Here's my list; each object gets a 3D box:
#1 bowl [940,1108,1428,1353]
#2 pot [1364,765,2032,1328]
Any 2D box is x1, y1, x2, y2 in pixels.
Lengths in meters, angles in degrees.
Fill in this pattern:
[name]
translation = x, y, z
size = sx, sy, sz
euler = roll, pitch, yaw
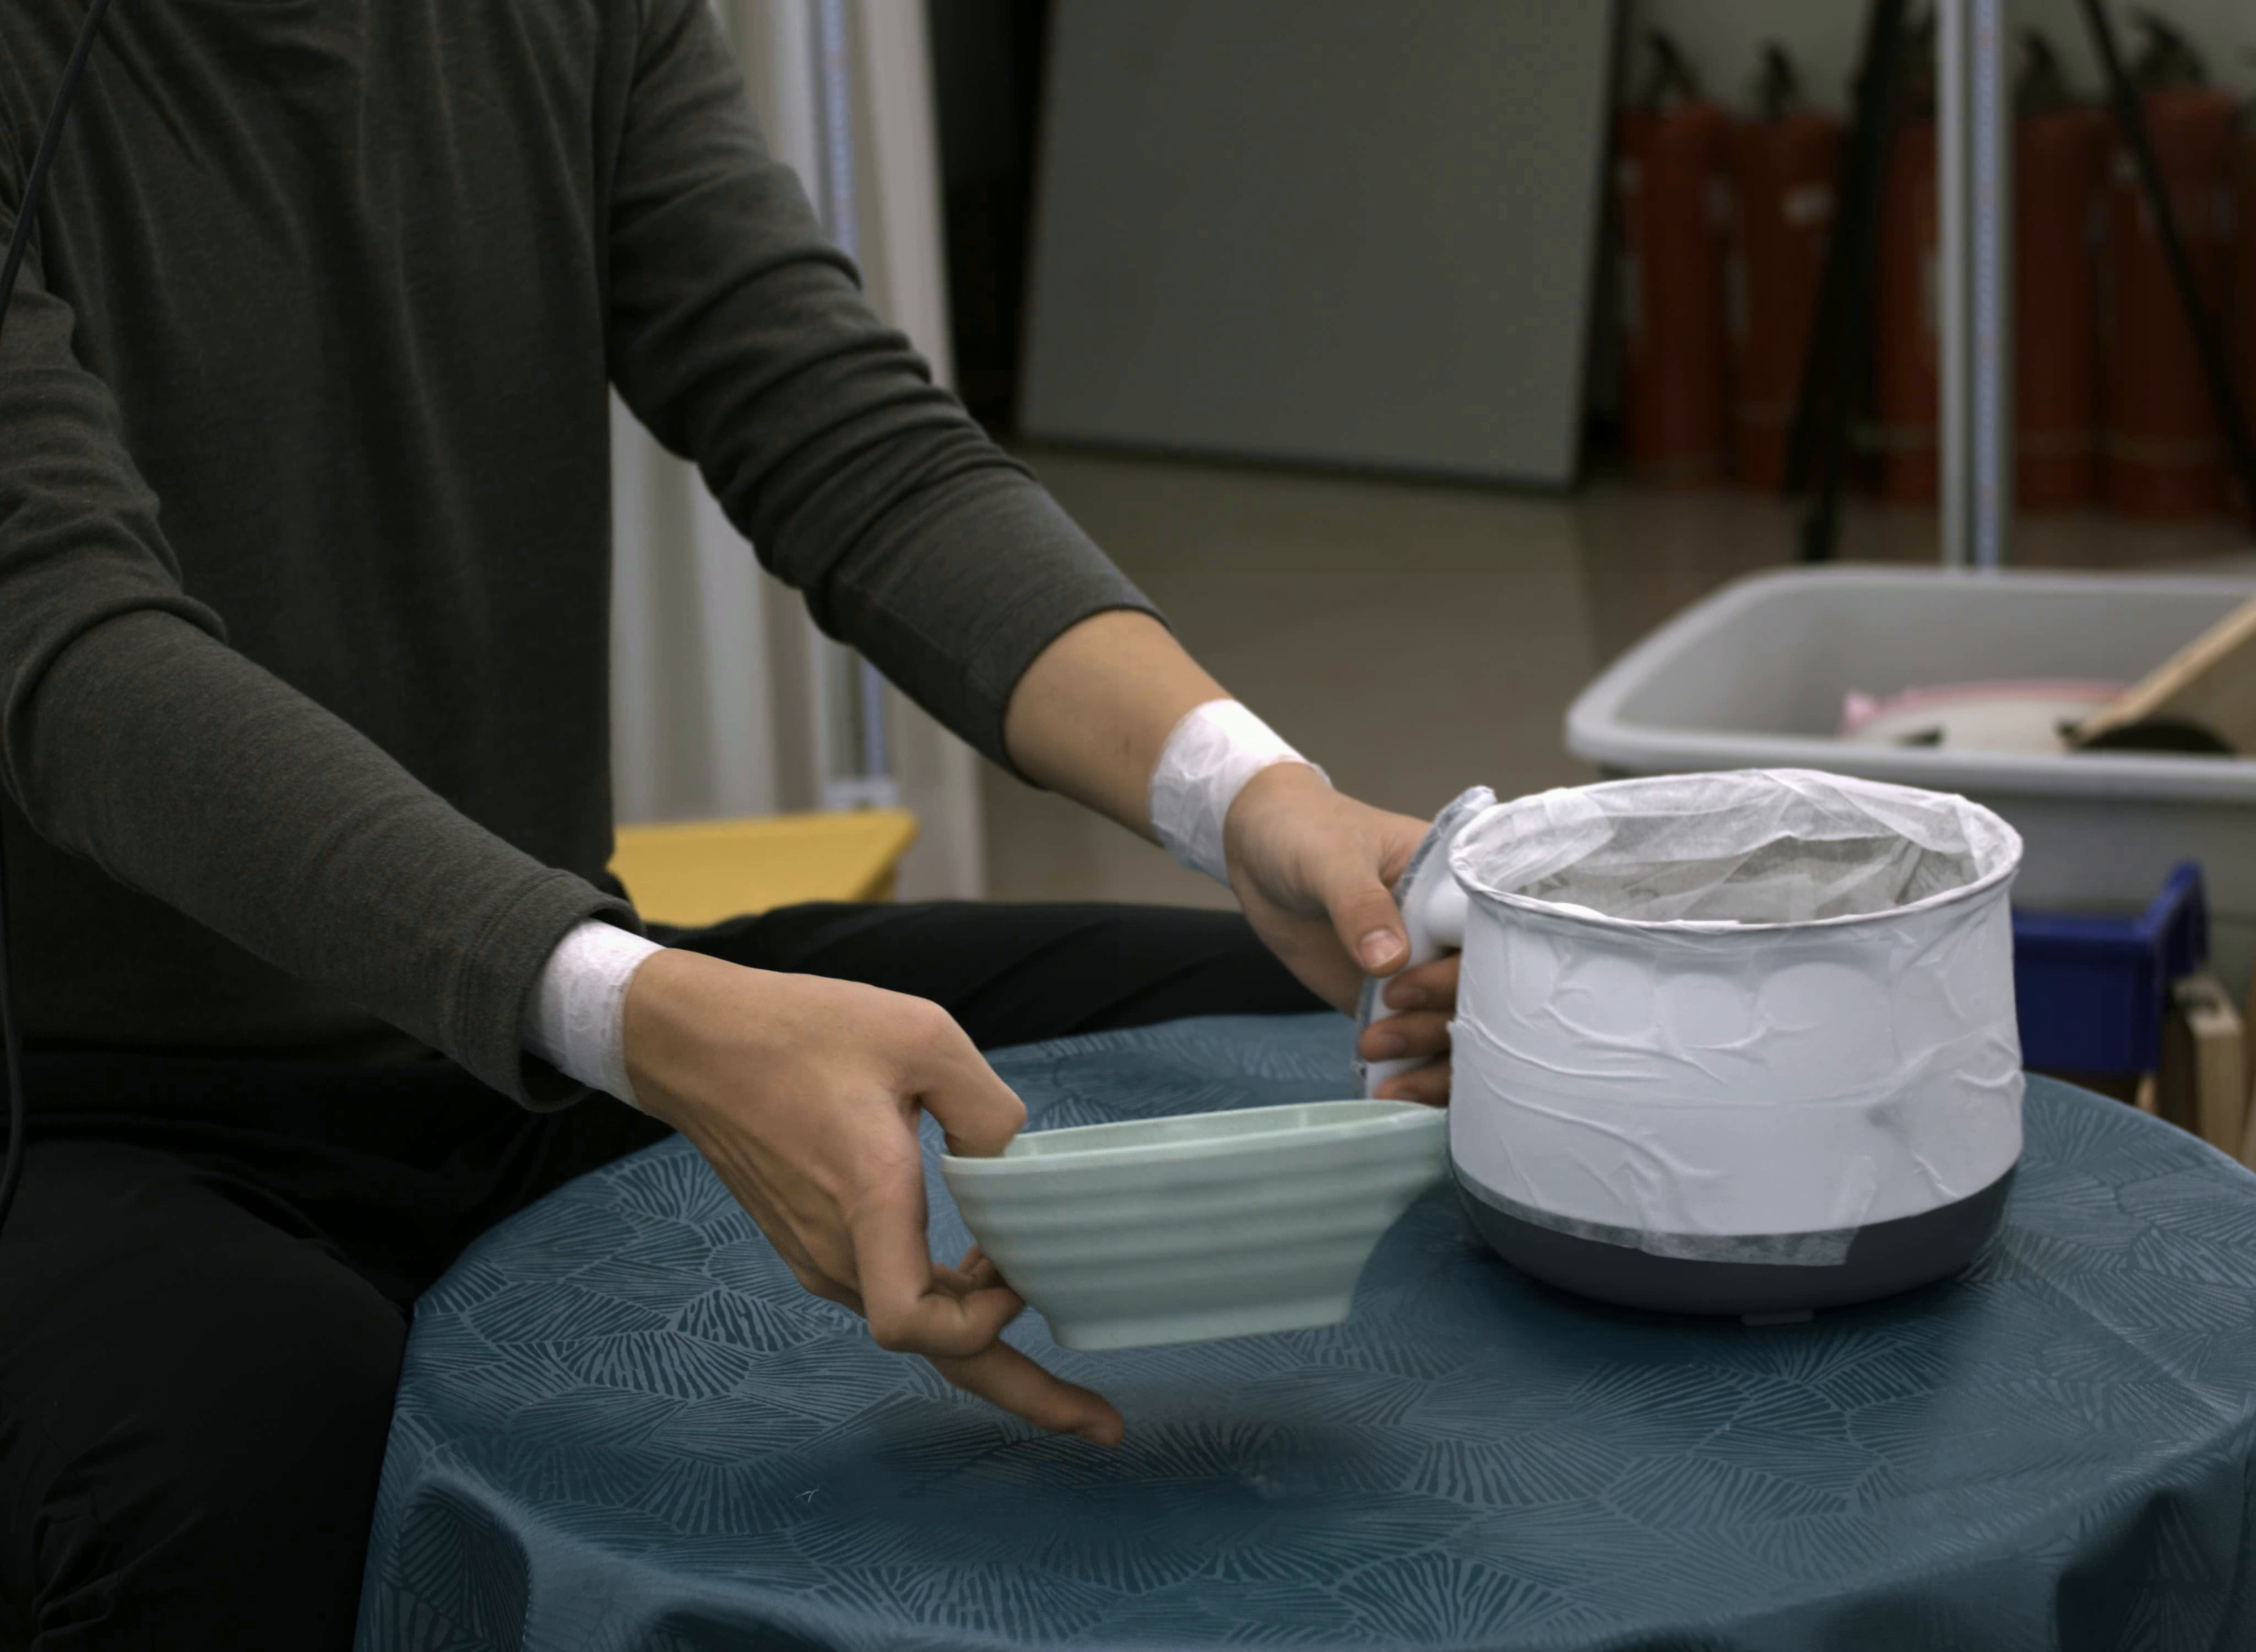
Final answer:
[bowl]
translation = 0.017, 0.114, 1.519
size = 0.149, 0.059, 0.151
euler = -4, 0, -1
[pot]
translation = 0.168, 0.063, 1.672
size = 0.235, 0.138, 0.175
euler = 8, 18, 40
